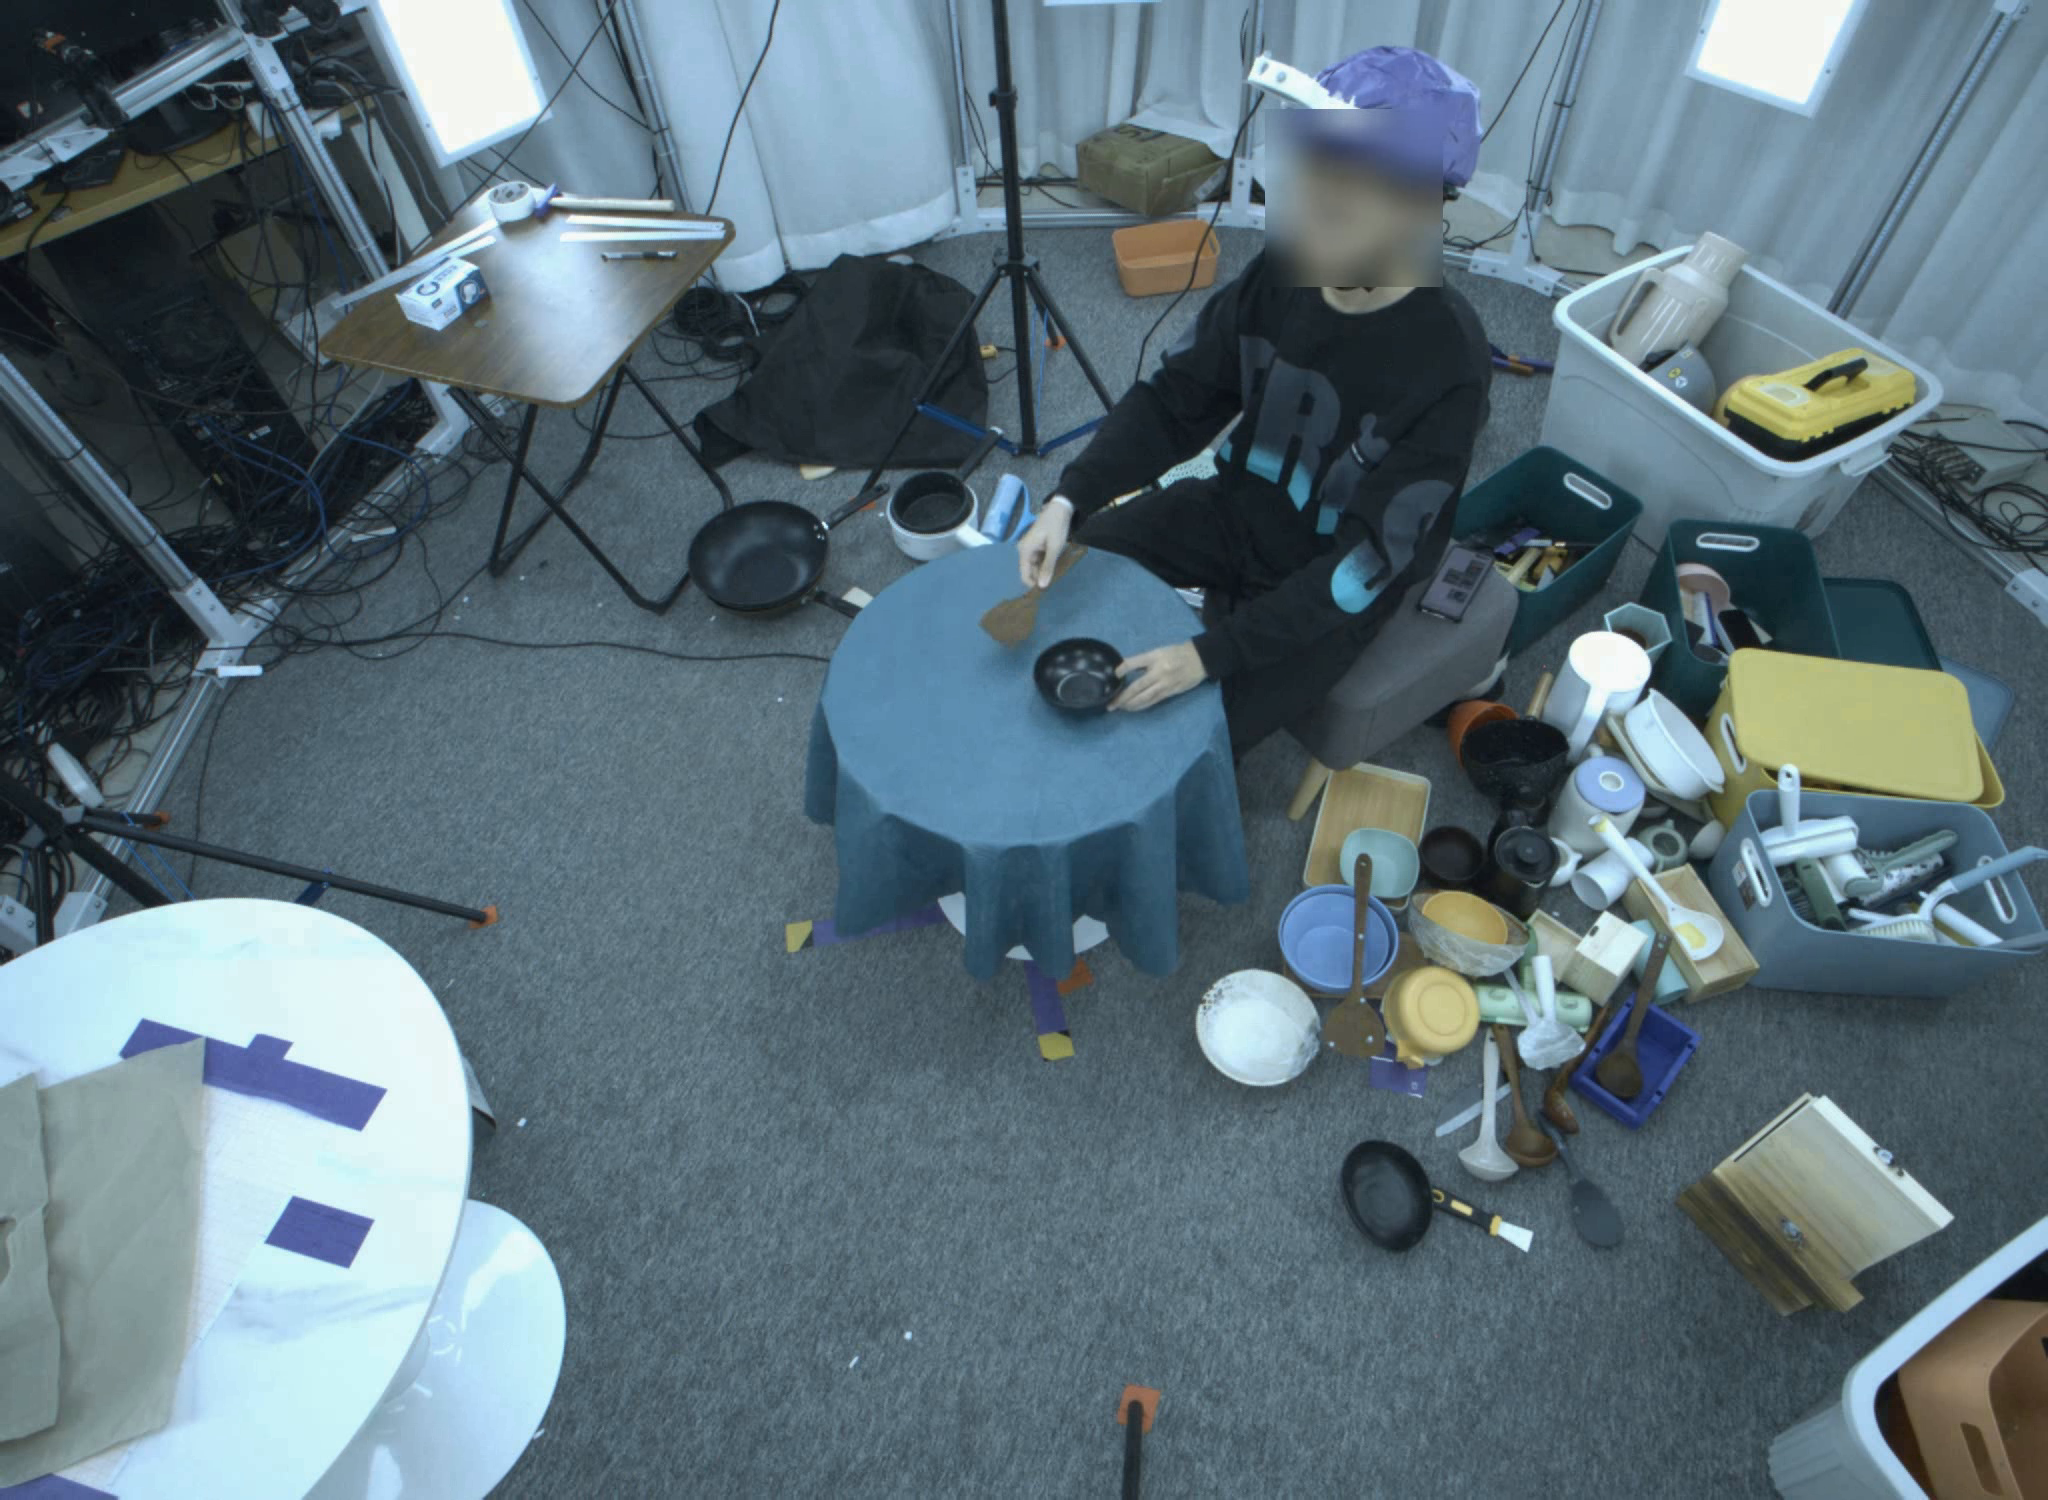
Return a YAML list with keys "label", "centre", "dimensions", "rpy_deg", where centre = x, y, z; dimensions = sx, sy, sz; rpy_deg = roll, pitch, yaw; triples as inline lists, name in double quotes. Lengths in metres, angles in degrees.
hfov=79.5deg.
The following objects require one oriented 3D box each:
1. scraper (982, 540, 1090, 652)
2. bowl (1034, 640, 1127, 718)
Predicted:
- label: "scraper"
  centre: [0.026, -0.242, 1.872]
  dimensions: [0.075, 0.011, 0.212]
  rpy_deg: [40, 78, 6]
- label: "bowl"
  centre: [0.086, -0.097, 1.831]
  dimensions: [0.139, 0.050, 0.138]
  rpy_deg: [-3, 52, 5]
